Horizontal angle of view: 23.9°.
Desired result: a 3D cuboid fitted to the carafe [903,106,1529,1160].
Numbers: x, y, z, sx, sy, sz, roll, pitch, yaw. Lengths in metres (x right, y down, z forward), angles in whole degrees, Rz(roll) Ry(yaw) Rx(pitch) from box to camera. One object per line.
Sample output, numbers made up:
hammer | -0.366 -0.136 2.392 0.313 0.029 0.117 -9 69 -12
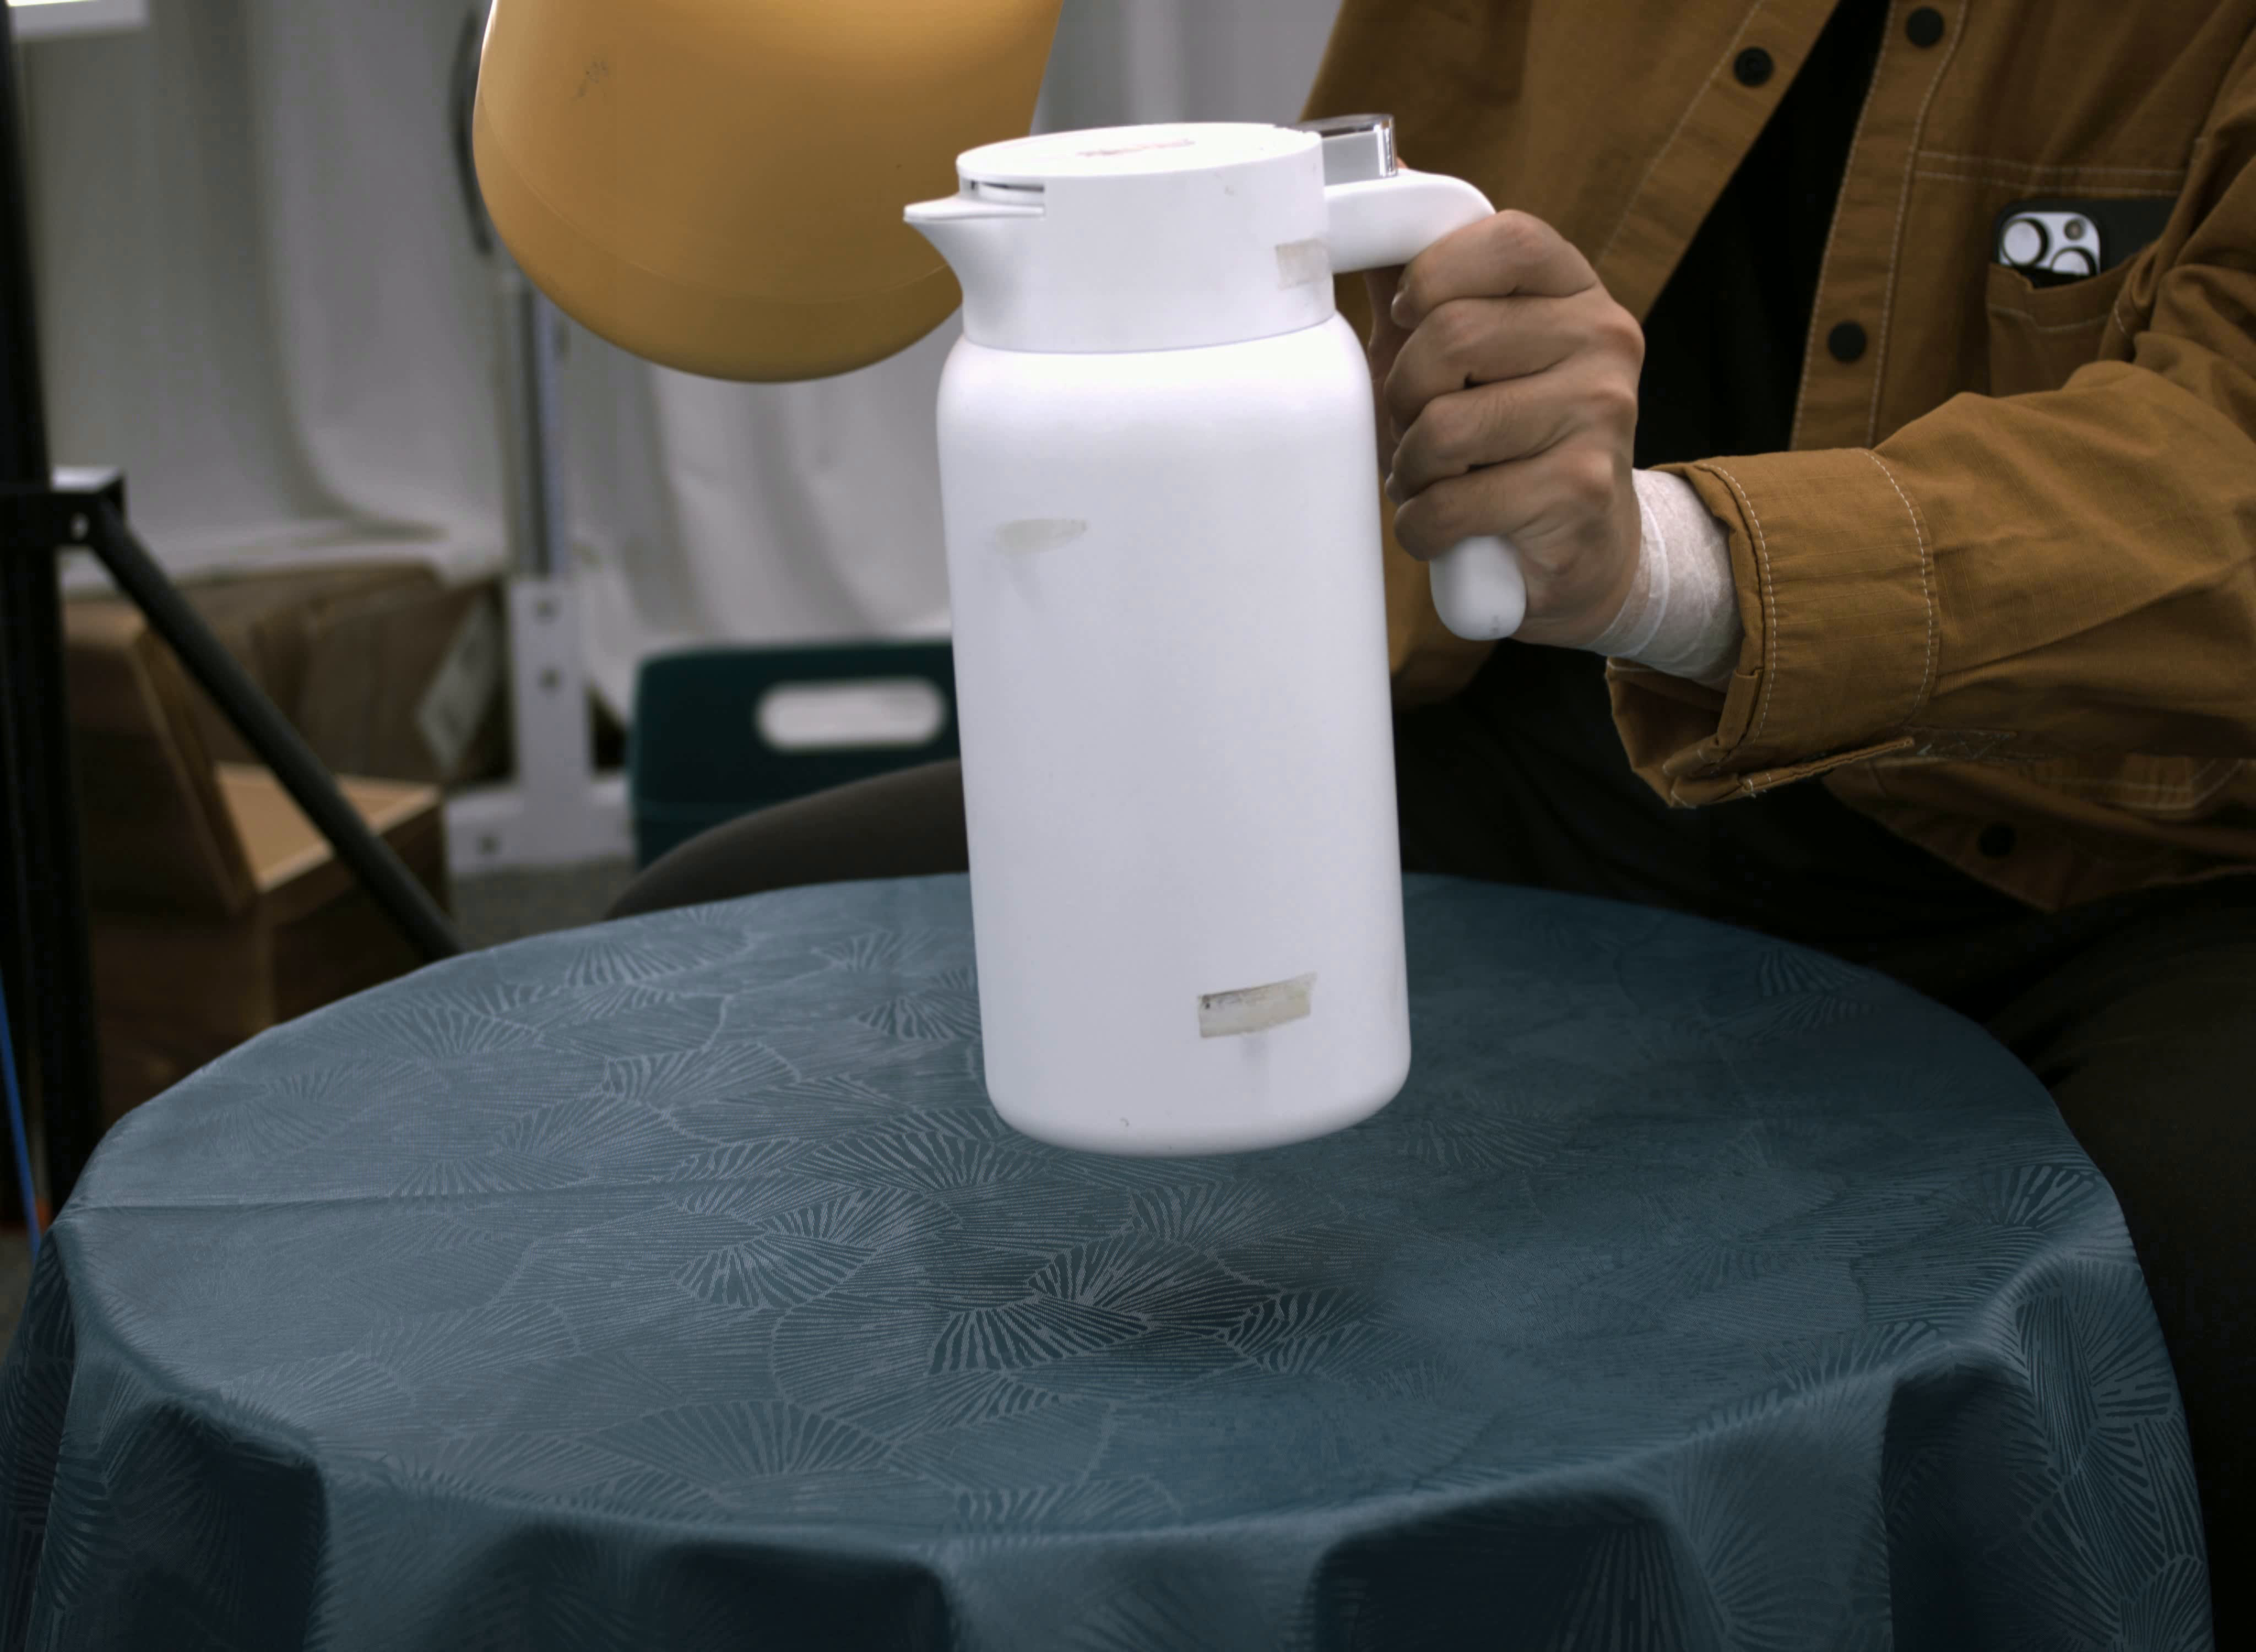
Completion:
carafe | 0.027 -0.055 1.429 0.169 0.269 0.126 -10 12 -24

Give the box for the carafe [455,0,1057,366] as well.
carafe | -0.103 -0.278 1.532 0.160 0.261 0.206 -16 60 -29
